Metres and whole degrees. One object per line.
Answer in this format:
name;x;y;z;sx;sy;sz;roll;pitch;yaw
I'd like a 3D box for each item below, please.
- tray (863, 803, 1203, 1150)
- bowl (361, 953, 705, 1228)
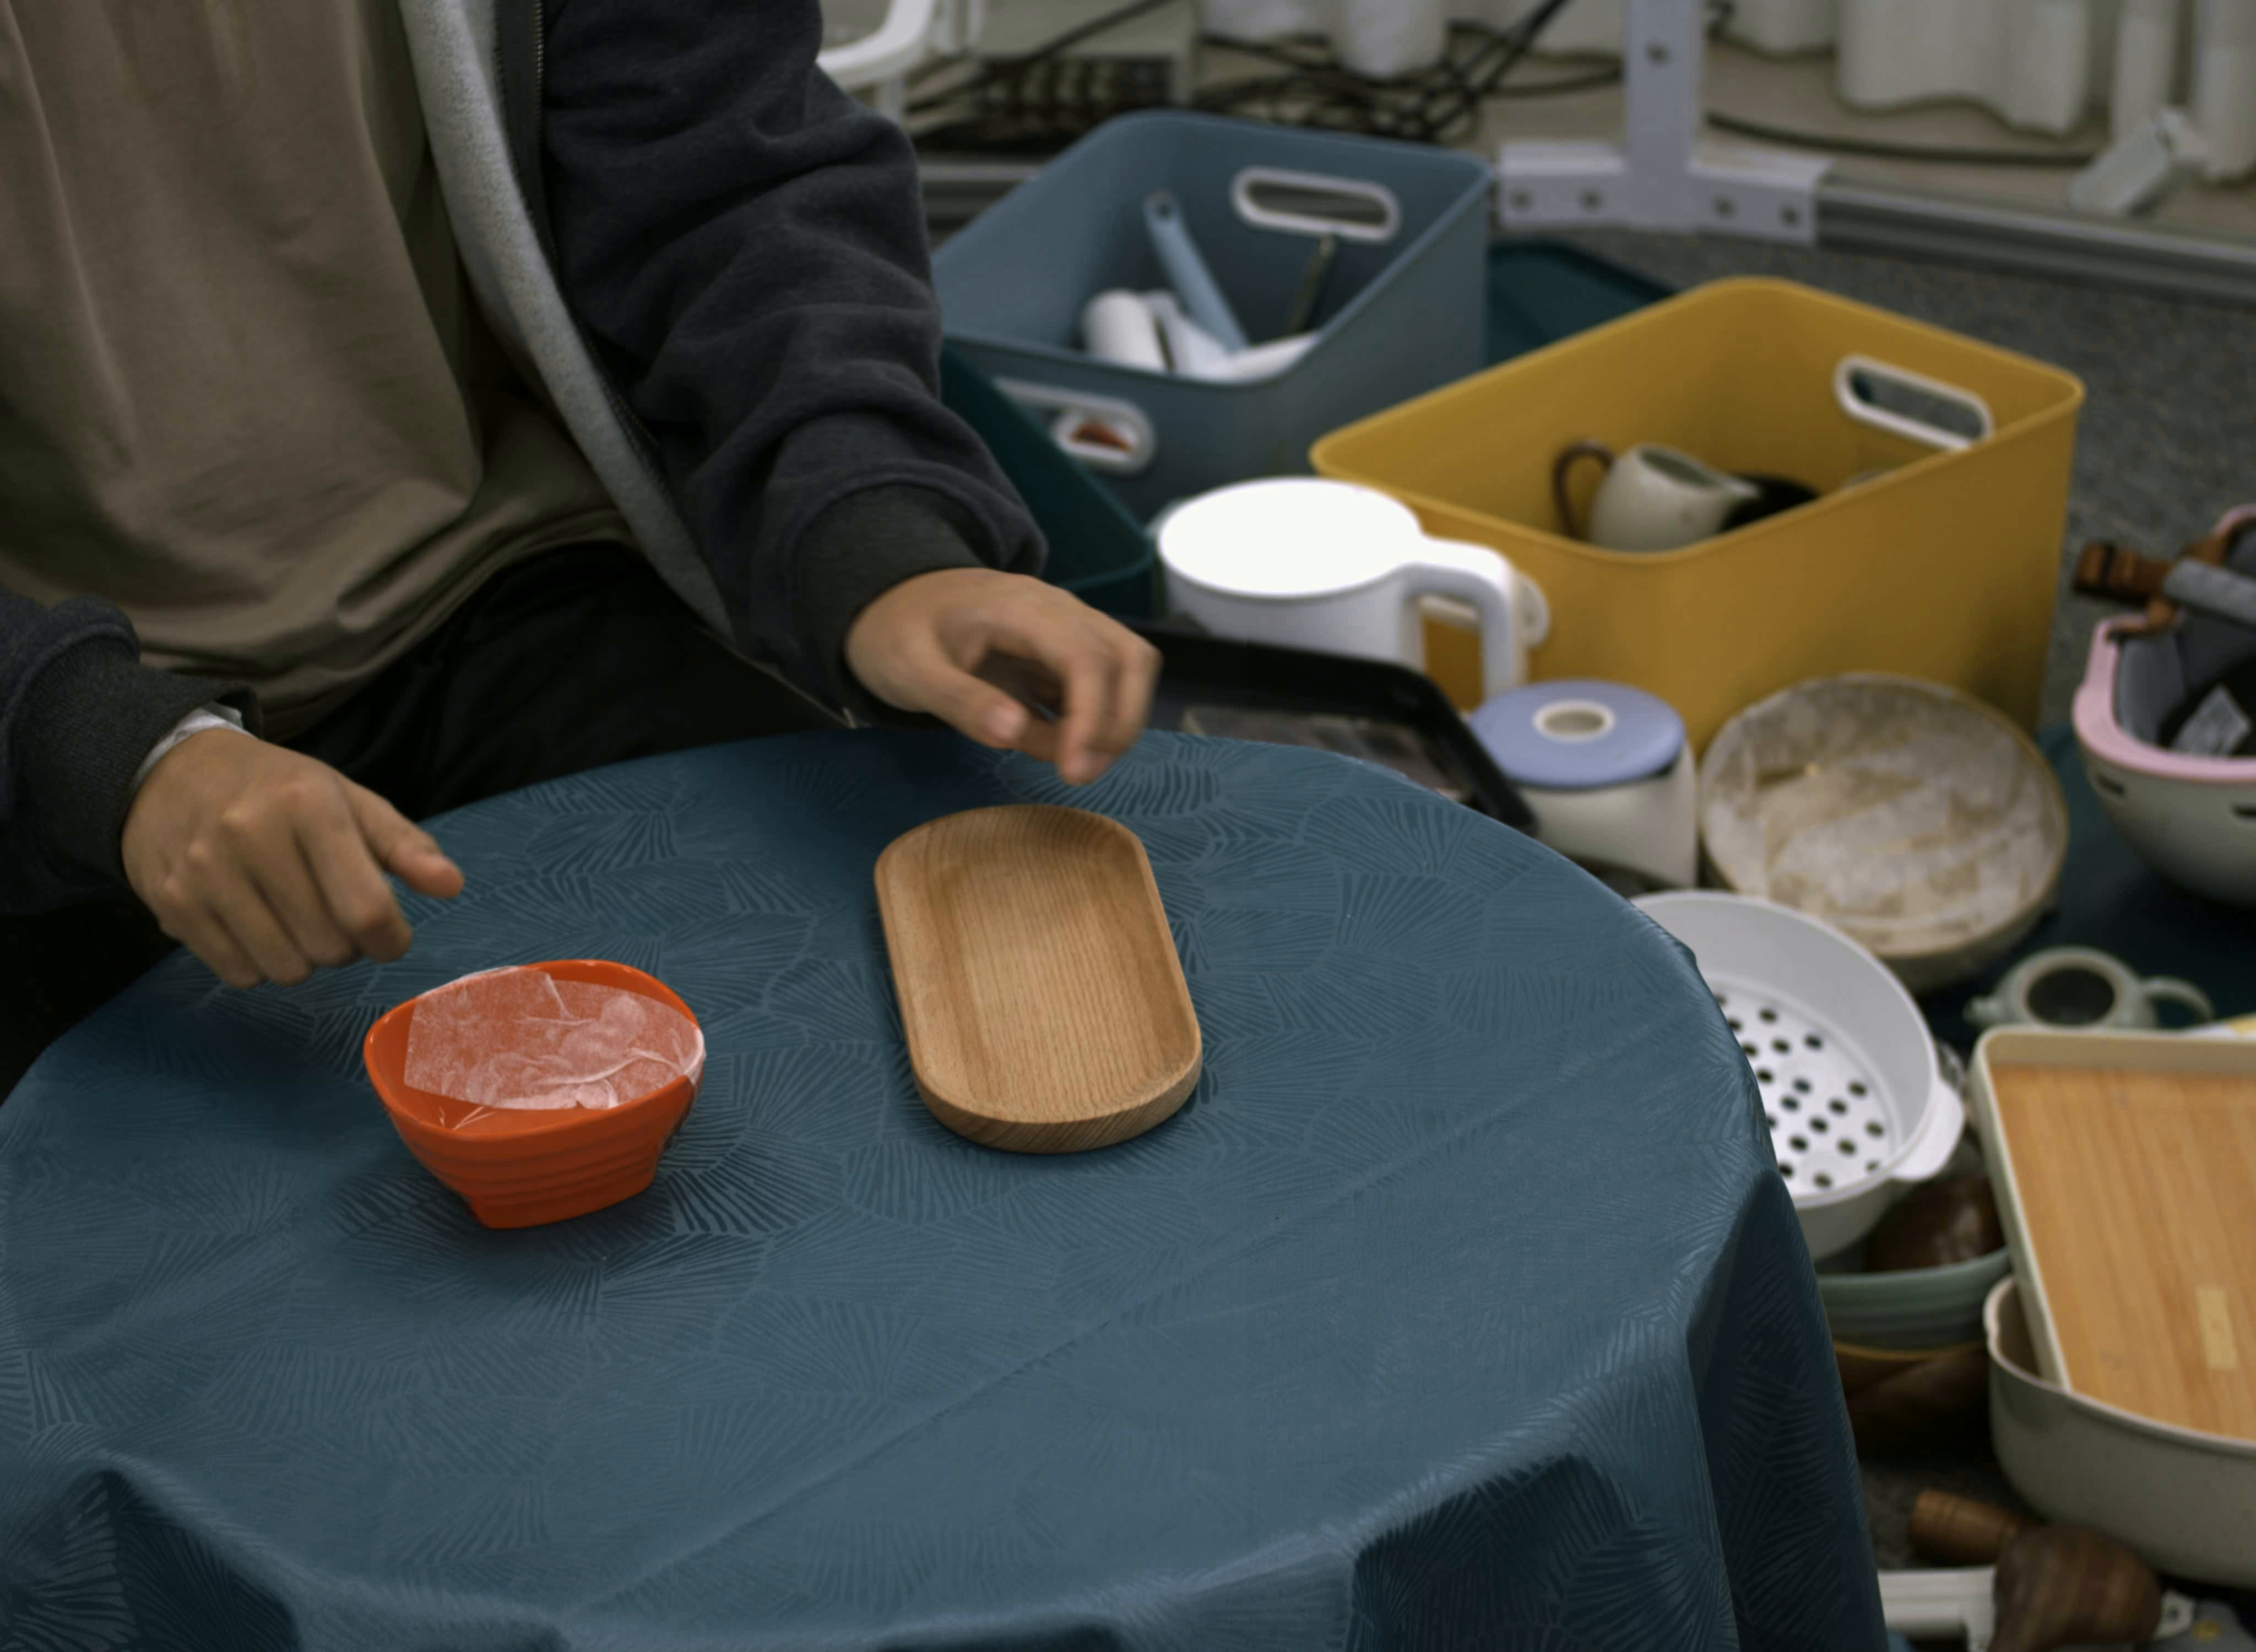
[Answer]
tray;-0.035;0.051;1.985;0.101;0.020;0.234;-6;26;-8
bowl;-0.197;0.093;1.879;0.118;0.051;0.121;-3;28;2
